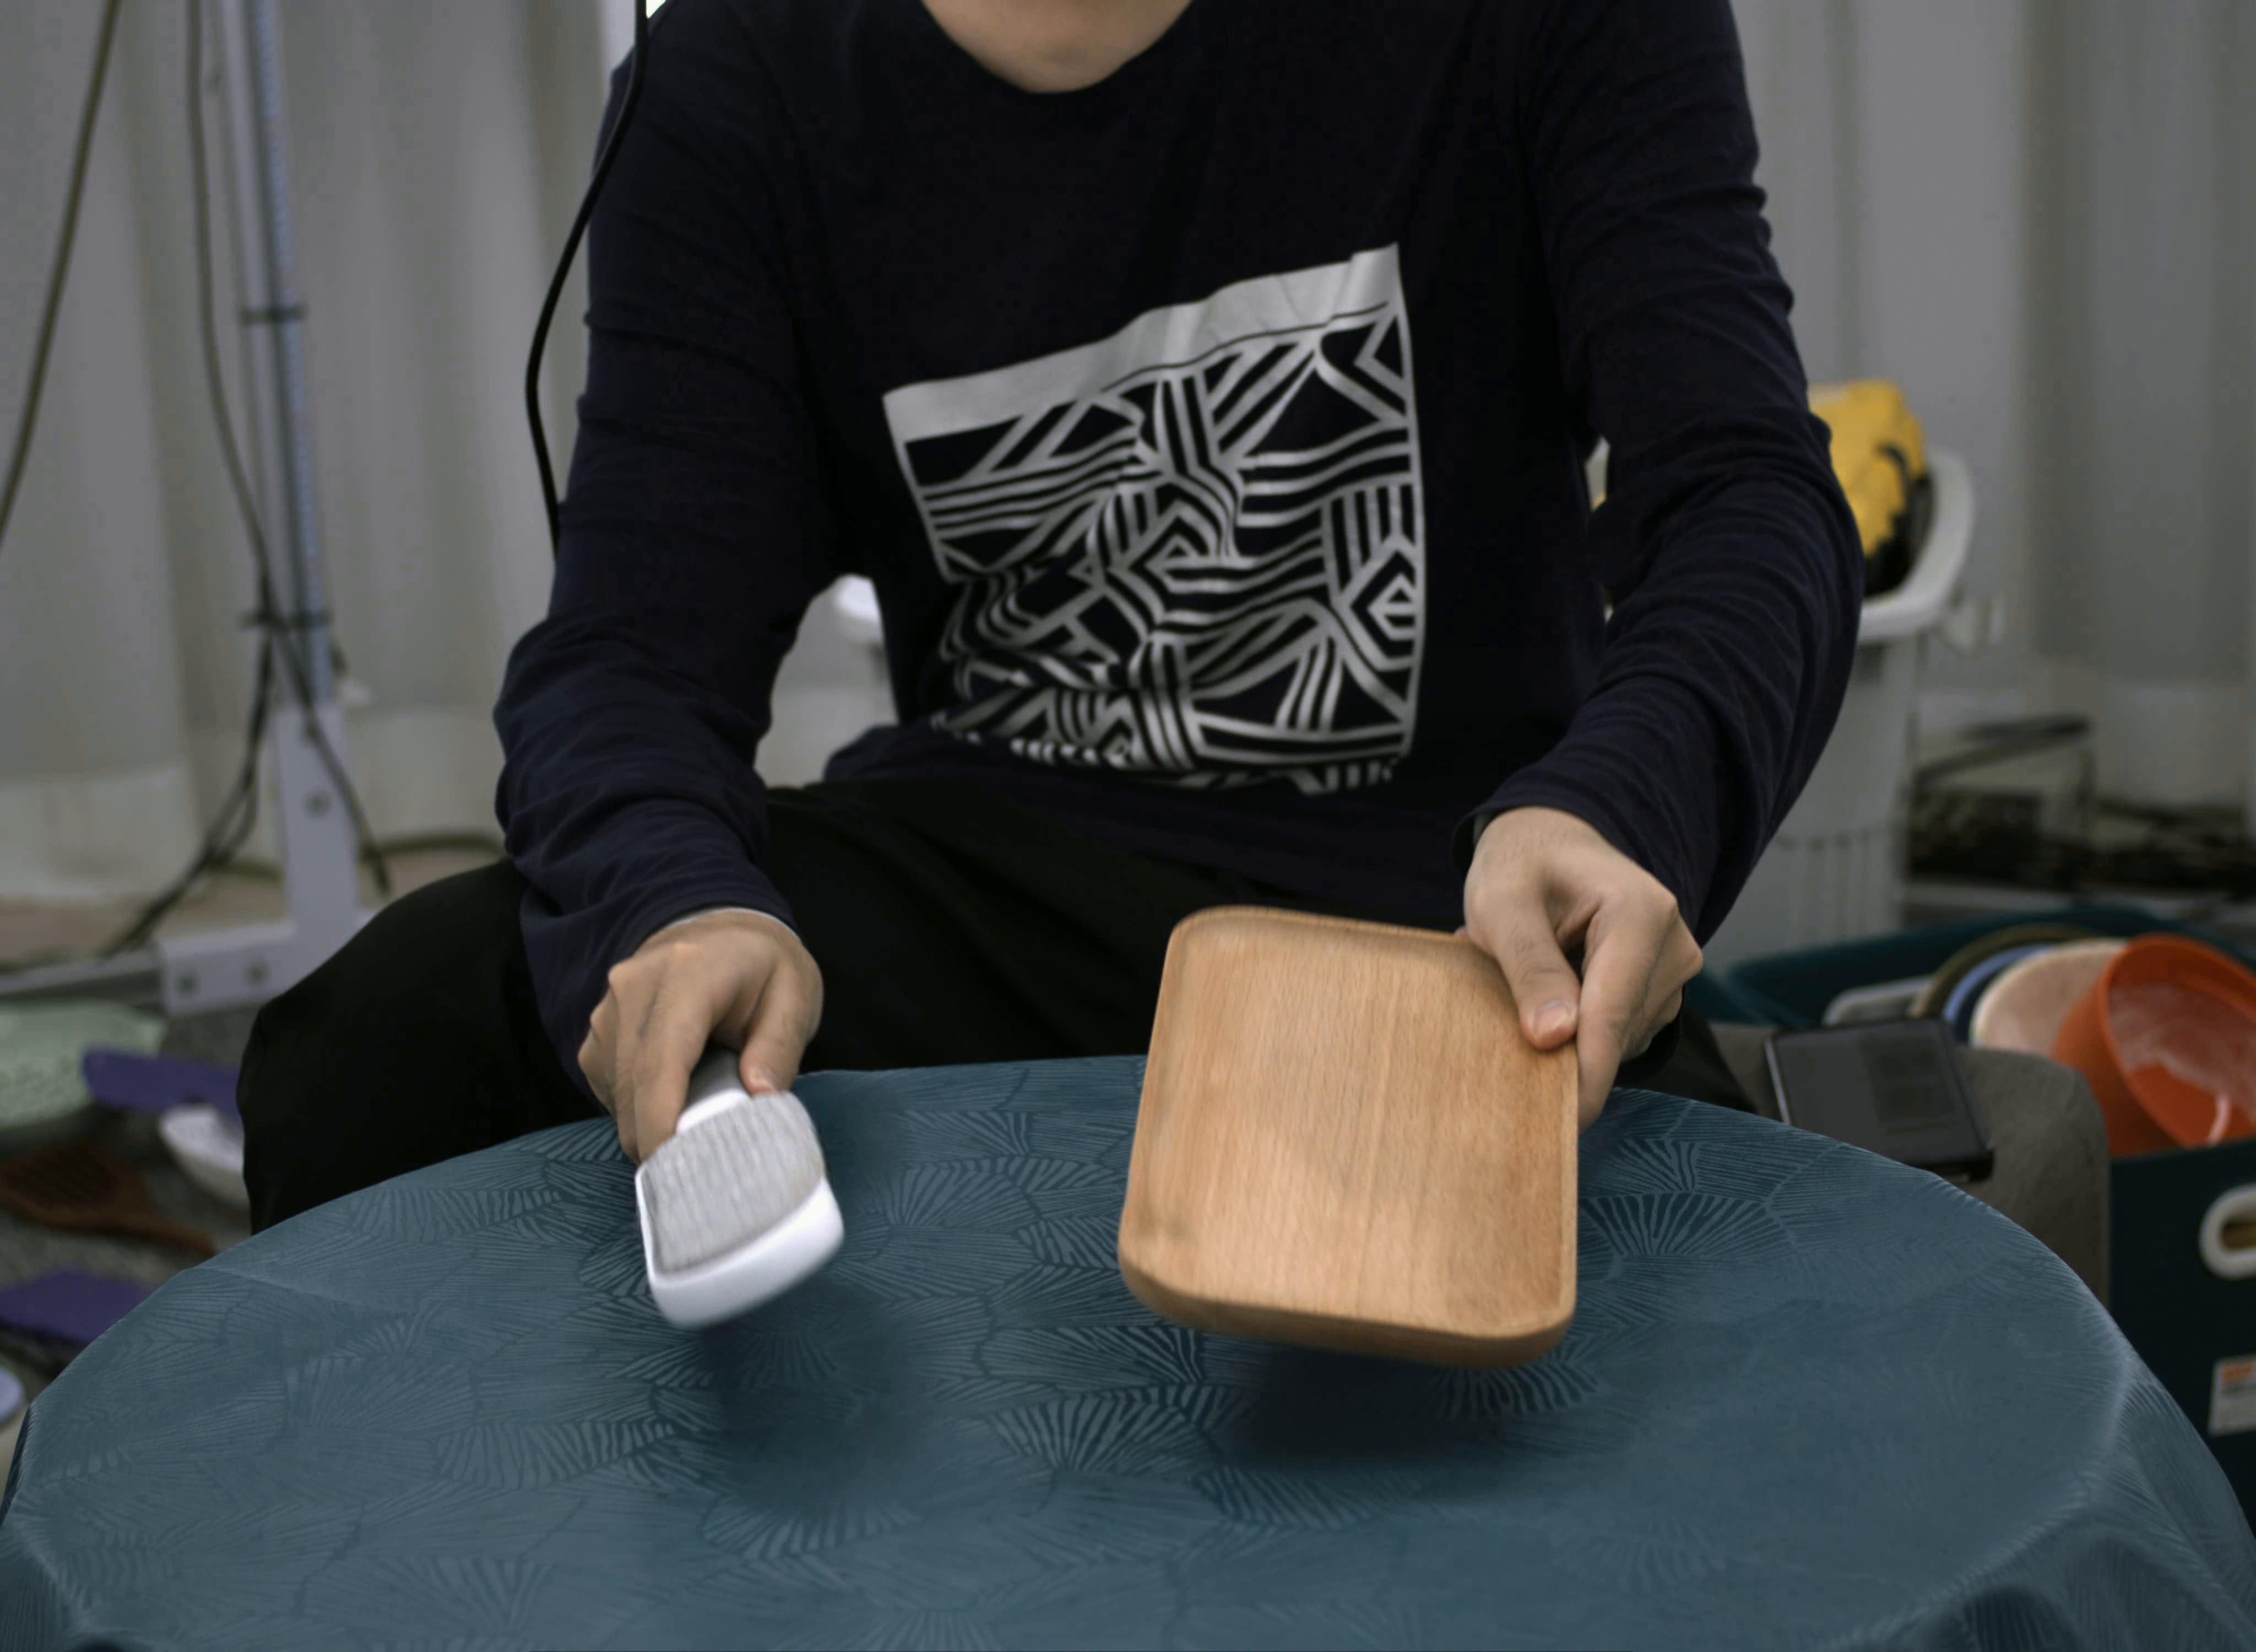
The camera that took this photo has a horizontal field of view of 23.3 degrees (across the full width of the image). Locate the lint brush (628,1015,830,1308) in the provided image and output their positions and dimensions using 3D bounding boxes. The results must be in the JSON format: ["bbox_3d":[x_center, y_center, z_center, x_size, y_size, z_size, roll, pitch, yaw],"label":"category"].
[{"bbox_3d":[-0.122,0.094,1.639,0.060,0.021,0.310,-33,11,-1],"label":"lint brush"}]

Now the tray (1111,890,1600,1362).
[{"bbox_3d":[0.069,0.084,1.586,0.130,0.023,0.253,12,24,3],"label":"tray"}]
